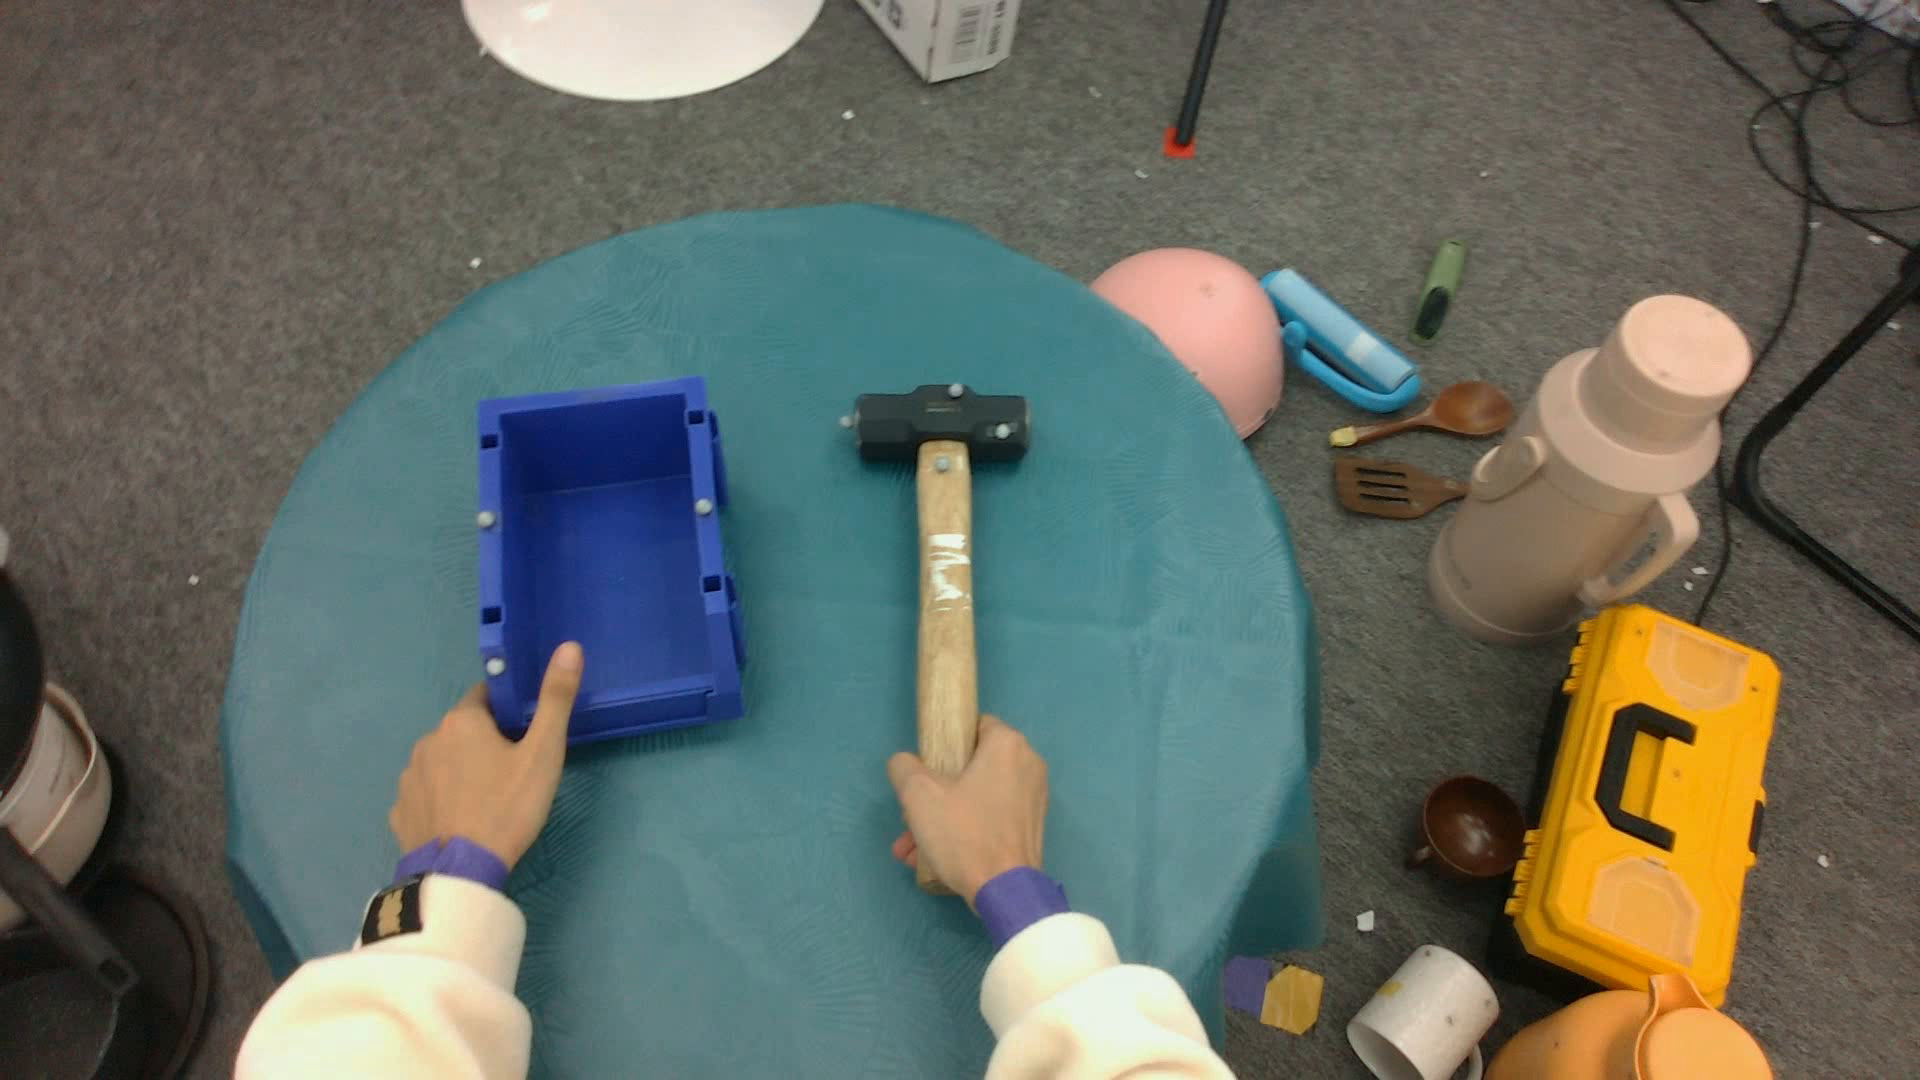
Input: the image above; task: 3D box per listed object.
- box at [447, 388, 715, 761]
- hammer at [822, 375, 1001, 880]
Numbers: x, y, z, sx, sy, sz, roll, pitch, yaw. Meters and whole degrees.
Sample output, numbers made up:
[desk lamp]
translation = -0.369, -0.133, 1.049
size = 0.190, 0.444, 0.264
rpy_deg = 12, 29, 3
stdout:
[box]
translation = -0.201, 0.018, 0.736
size = 0.124, 0.081, 0.180
rpy_deg = -8, 57, -10
[hammer]
translation = -0.028, 0.036, 0.754
size = 0.107, 0.038, 0.306
rpy_deg = 1, 55, -3
